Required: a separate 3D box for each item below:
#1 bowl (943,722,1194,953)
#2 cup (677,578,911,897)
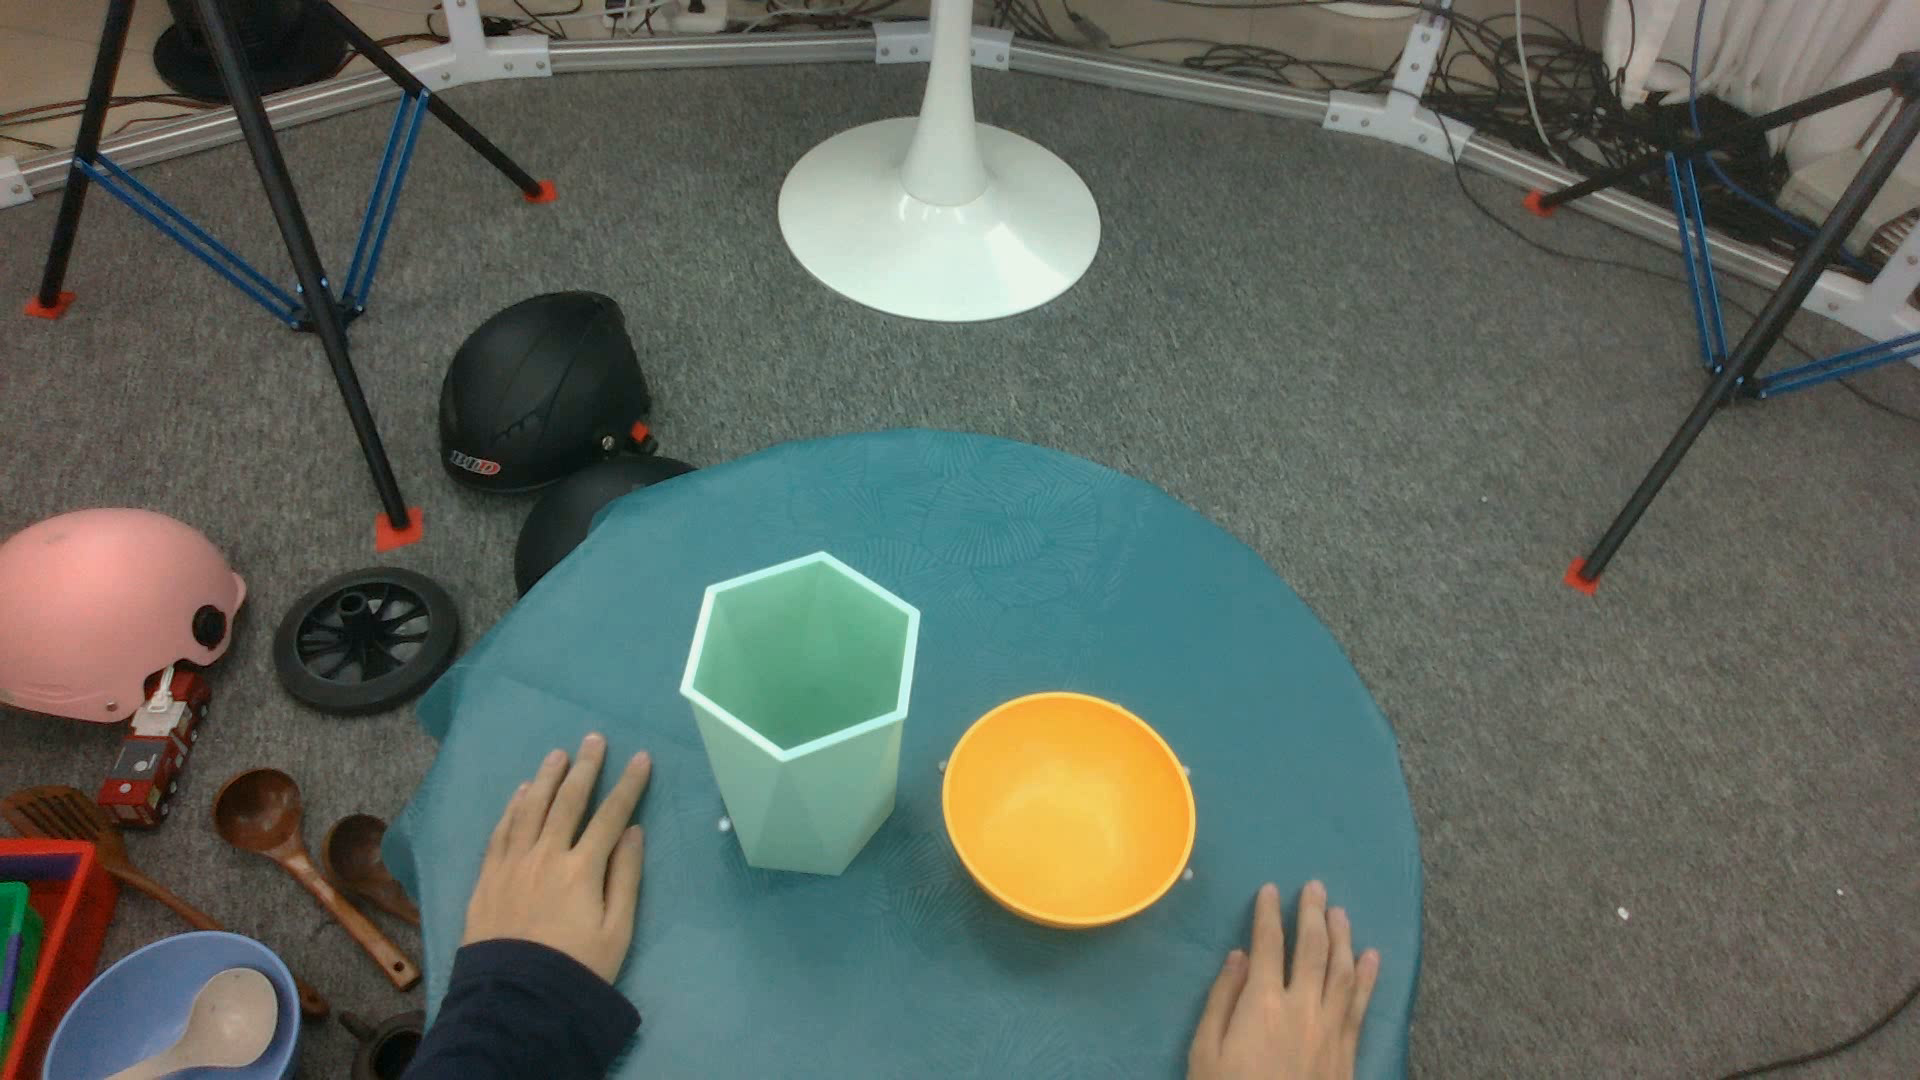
[{"bbox_3d":[0.061,0.183,0.813,0.145,0.060,0.146,1,51,-2],"label":"bowl"},{"bbox_3d":[-0.089,0.121,0.779,0.131,0.162,0.116,28,54,18],"label":"cup"}]
